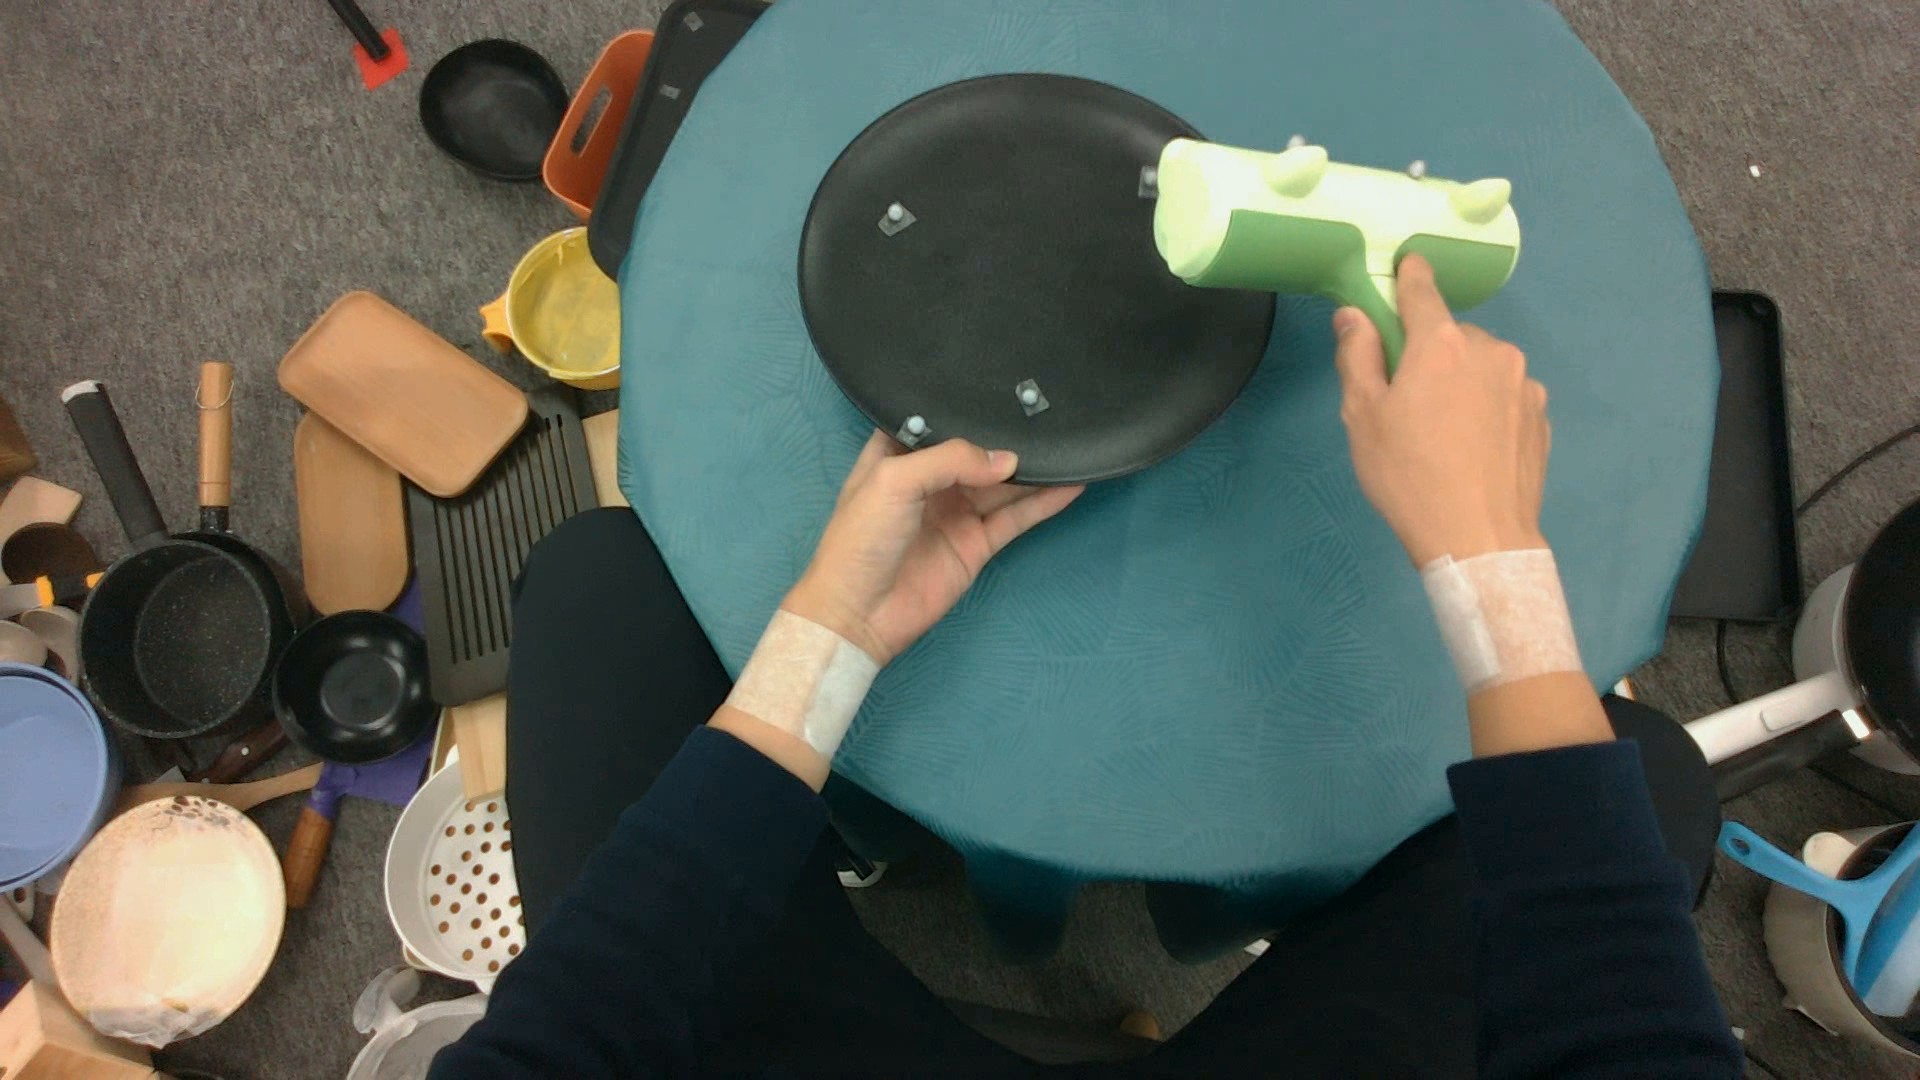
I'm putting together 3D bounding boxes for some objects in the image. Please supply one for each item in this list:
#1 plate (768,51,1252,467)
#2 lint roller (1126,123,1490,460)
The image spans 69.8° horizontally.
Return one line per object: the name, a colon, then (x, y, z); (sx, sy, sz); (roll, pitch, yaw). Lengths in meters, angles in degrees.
plate: (0.025, -0.145, 0.701); (0.244, 0.023, 0.245); (0, 69, -1)
lint roller: (0.192, -0.124, 0.625); (0.199, 0.082, 0.184); (-4, 49, -29)
